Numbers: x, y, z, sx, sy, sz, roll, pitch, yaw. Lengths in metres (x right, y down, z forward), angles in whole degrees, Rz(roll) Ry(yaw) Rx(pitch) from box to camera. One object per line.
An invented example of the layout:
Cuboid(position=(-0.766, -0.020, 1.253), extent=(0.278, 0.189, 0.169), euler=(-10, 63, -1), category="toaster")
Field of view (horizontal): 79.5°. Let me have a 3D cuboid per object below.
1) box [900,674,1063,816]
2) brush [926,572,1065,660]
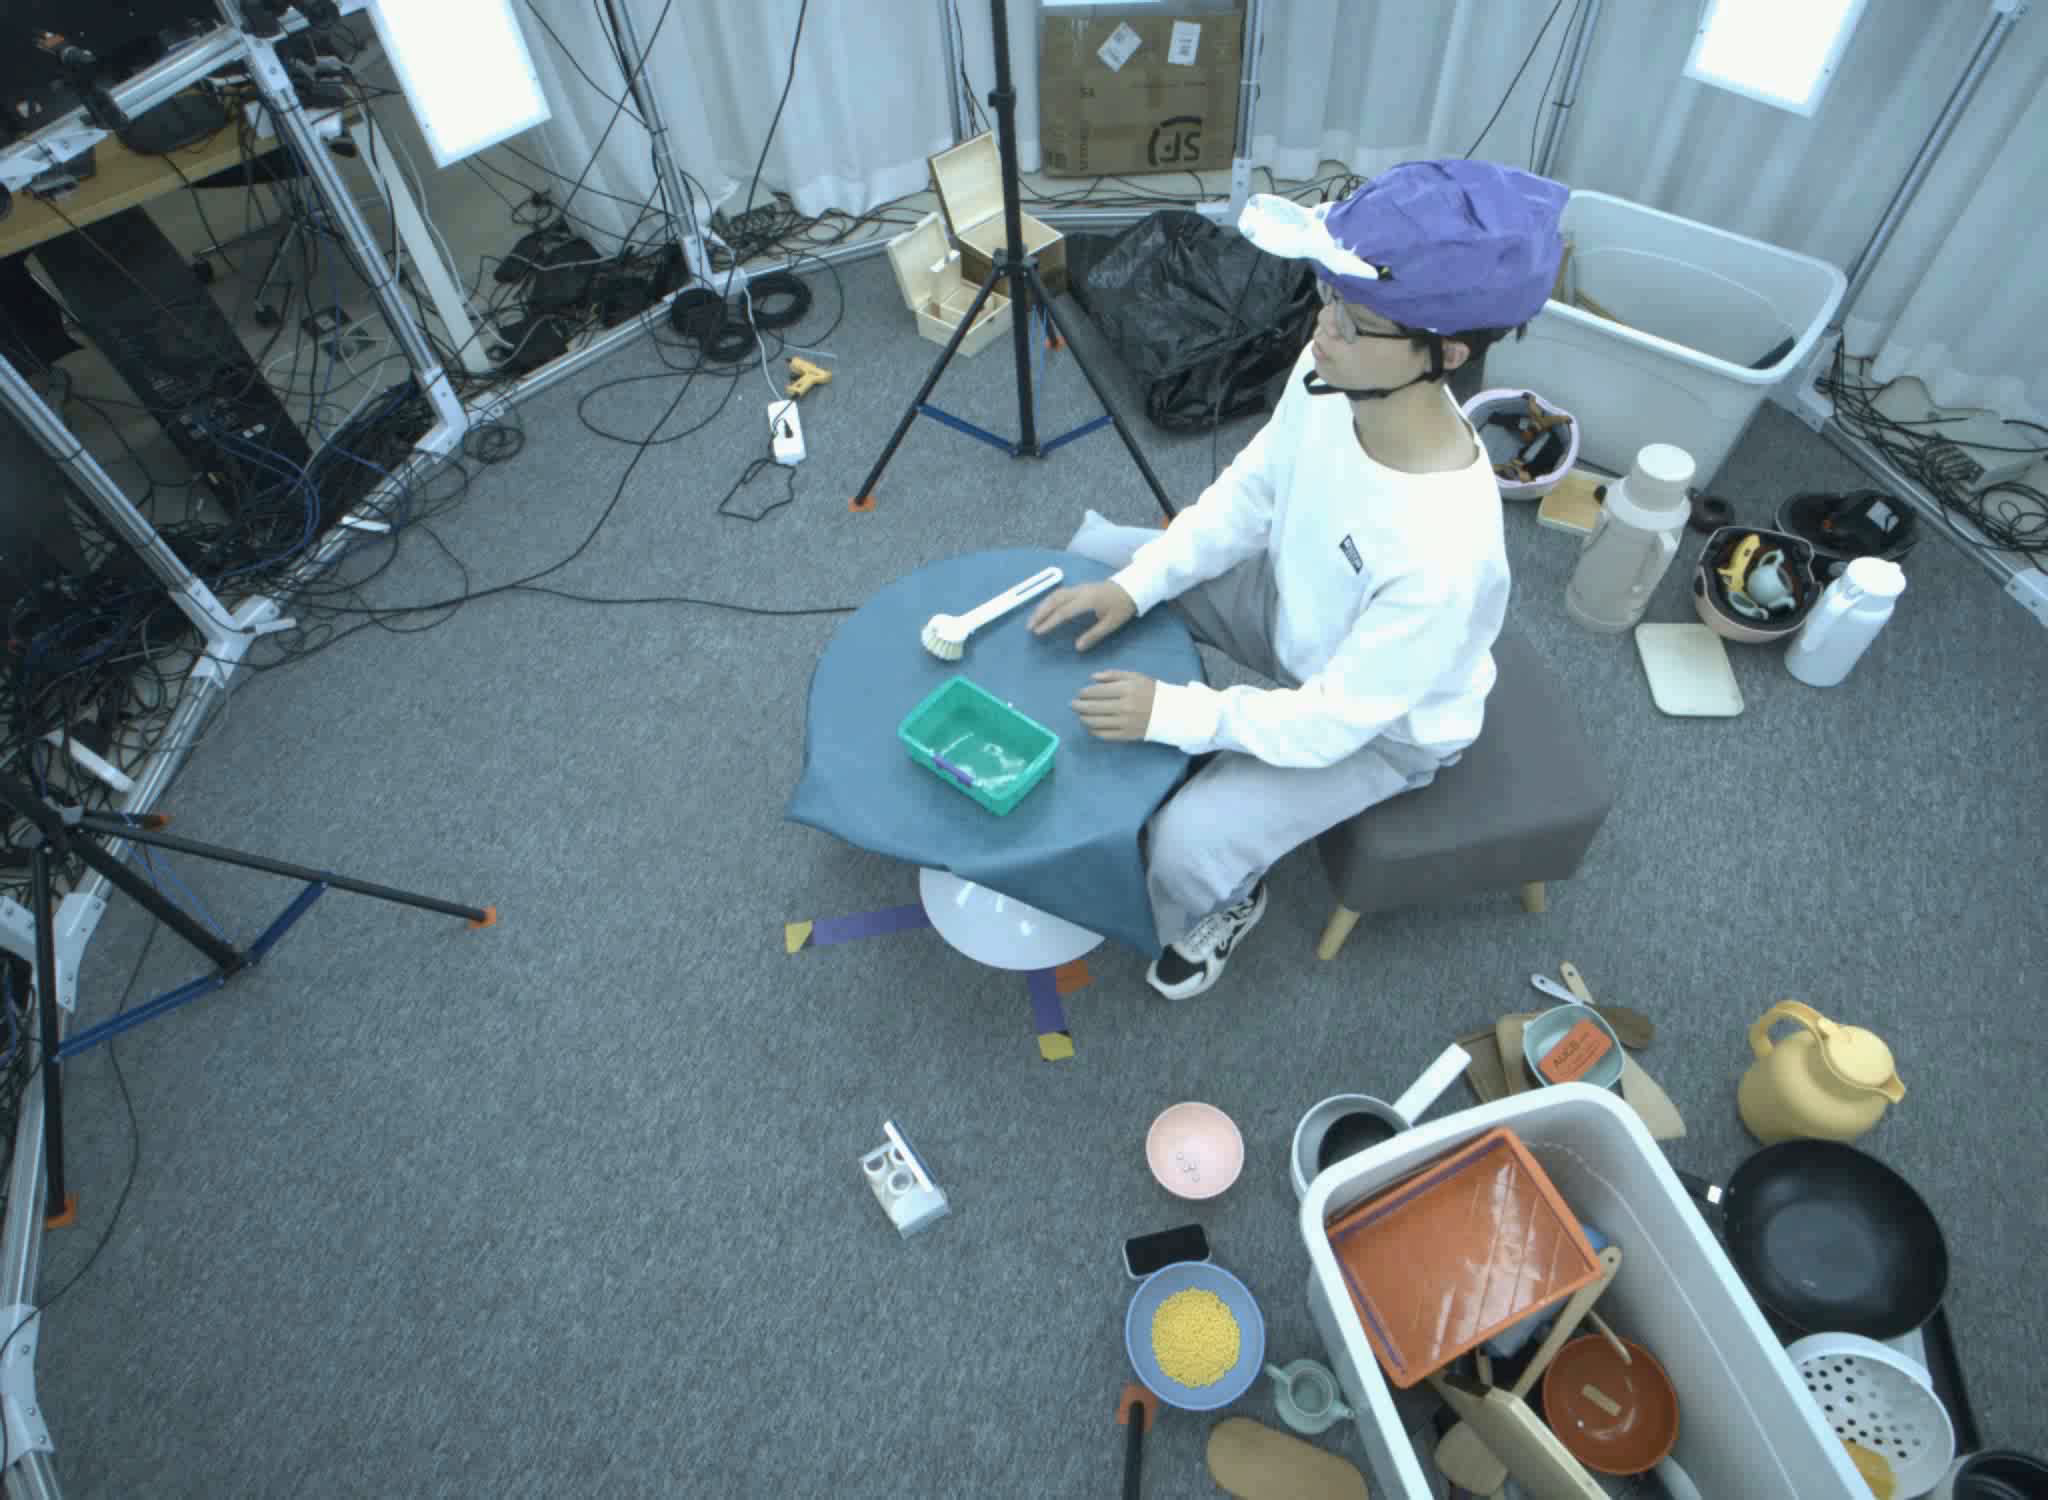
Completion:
Cuboid(position=(-0.059, -0.004, 1.751), extent=(0.207, 0.066, 0.139), euler=(33, 62, 20), category="box")
Cuboid(position=(-0.041, -0.214, 1.929), extent=(0.270, 0.056, 0.068), euler=(-29, 73, -34), category="brush")
